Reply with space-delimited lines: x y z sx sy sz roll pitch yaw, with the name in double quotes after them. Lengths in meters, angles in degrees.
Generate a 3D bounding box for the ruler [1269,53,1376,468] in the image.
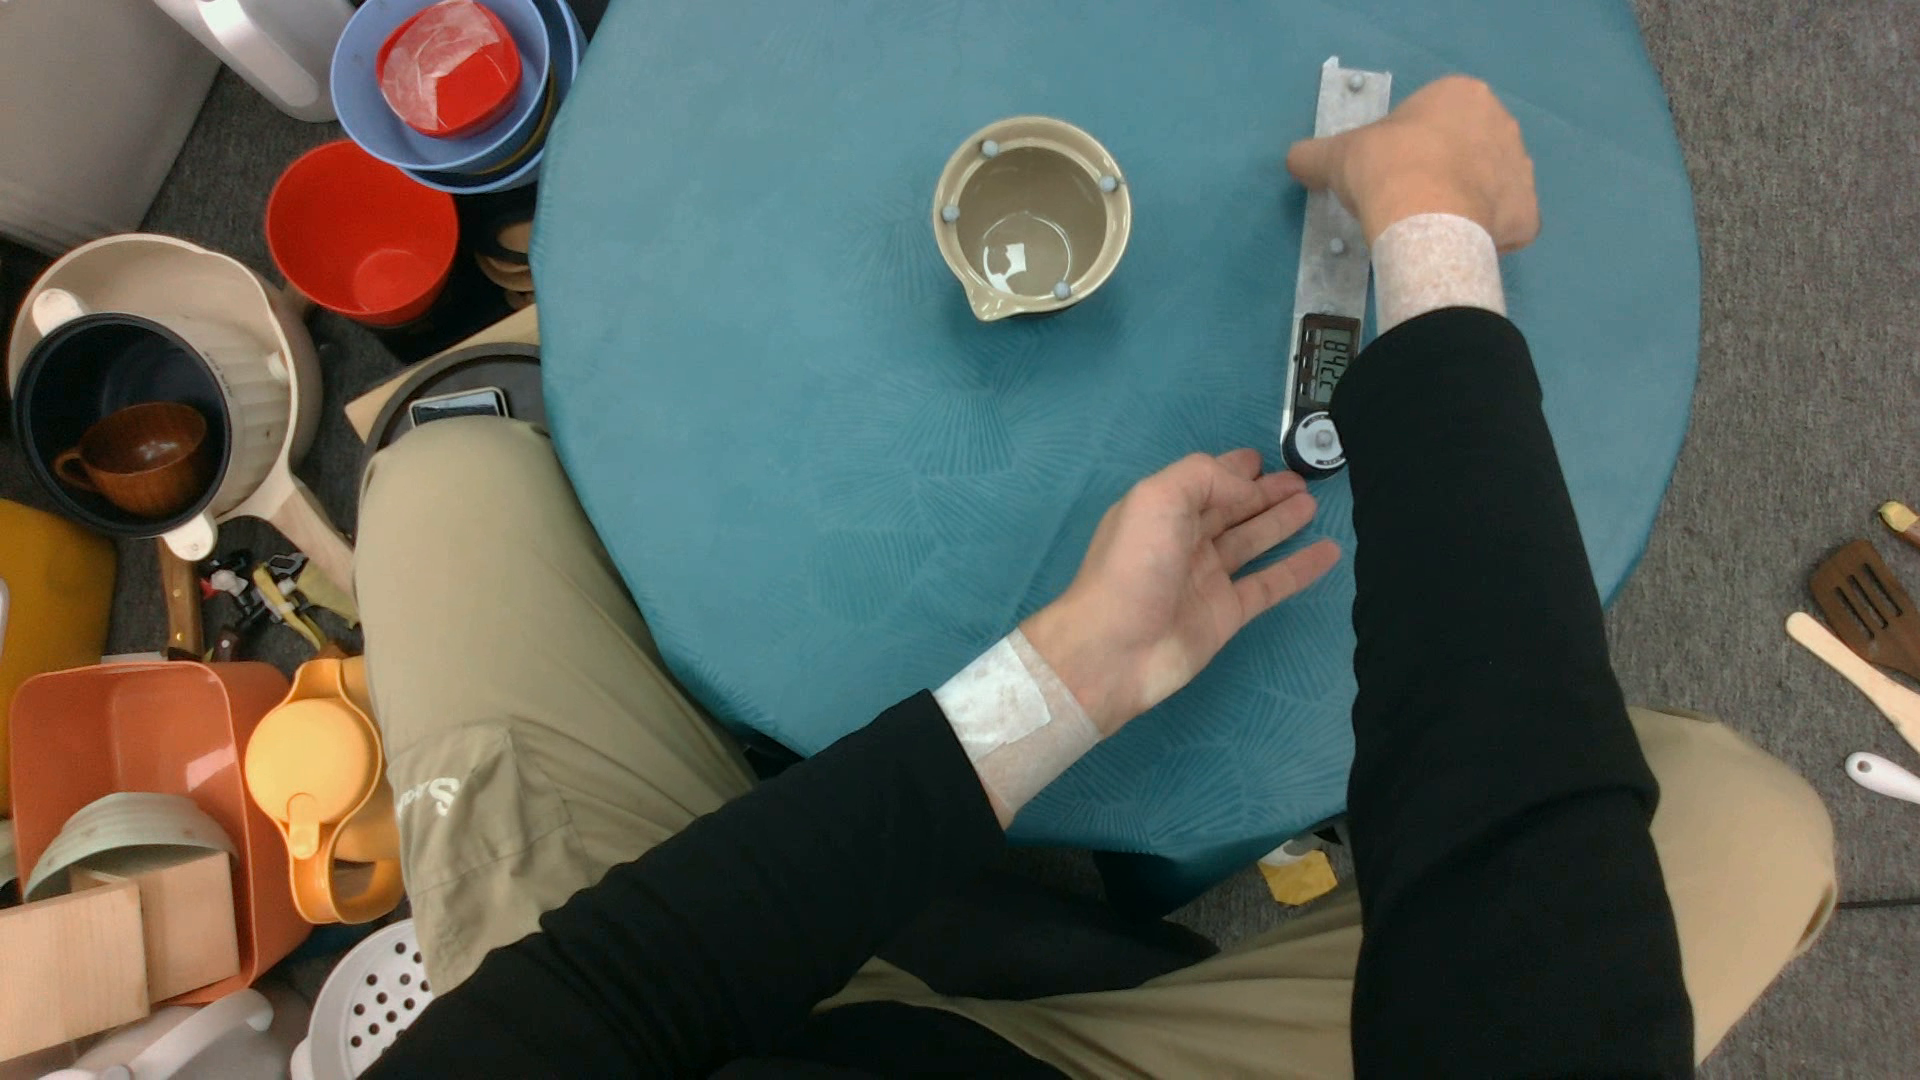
0.187 -0.145 0.700 0.038 0.024 0.218 8 84 -5 "ruler"

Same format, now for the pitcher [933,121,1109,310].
0.026 -0.147 0.673 0.083 0.071 0.096 25 83 2 "pitcher"
